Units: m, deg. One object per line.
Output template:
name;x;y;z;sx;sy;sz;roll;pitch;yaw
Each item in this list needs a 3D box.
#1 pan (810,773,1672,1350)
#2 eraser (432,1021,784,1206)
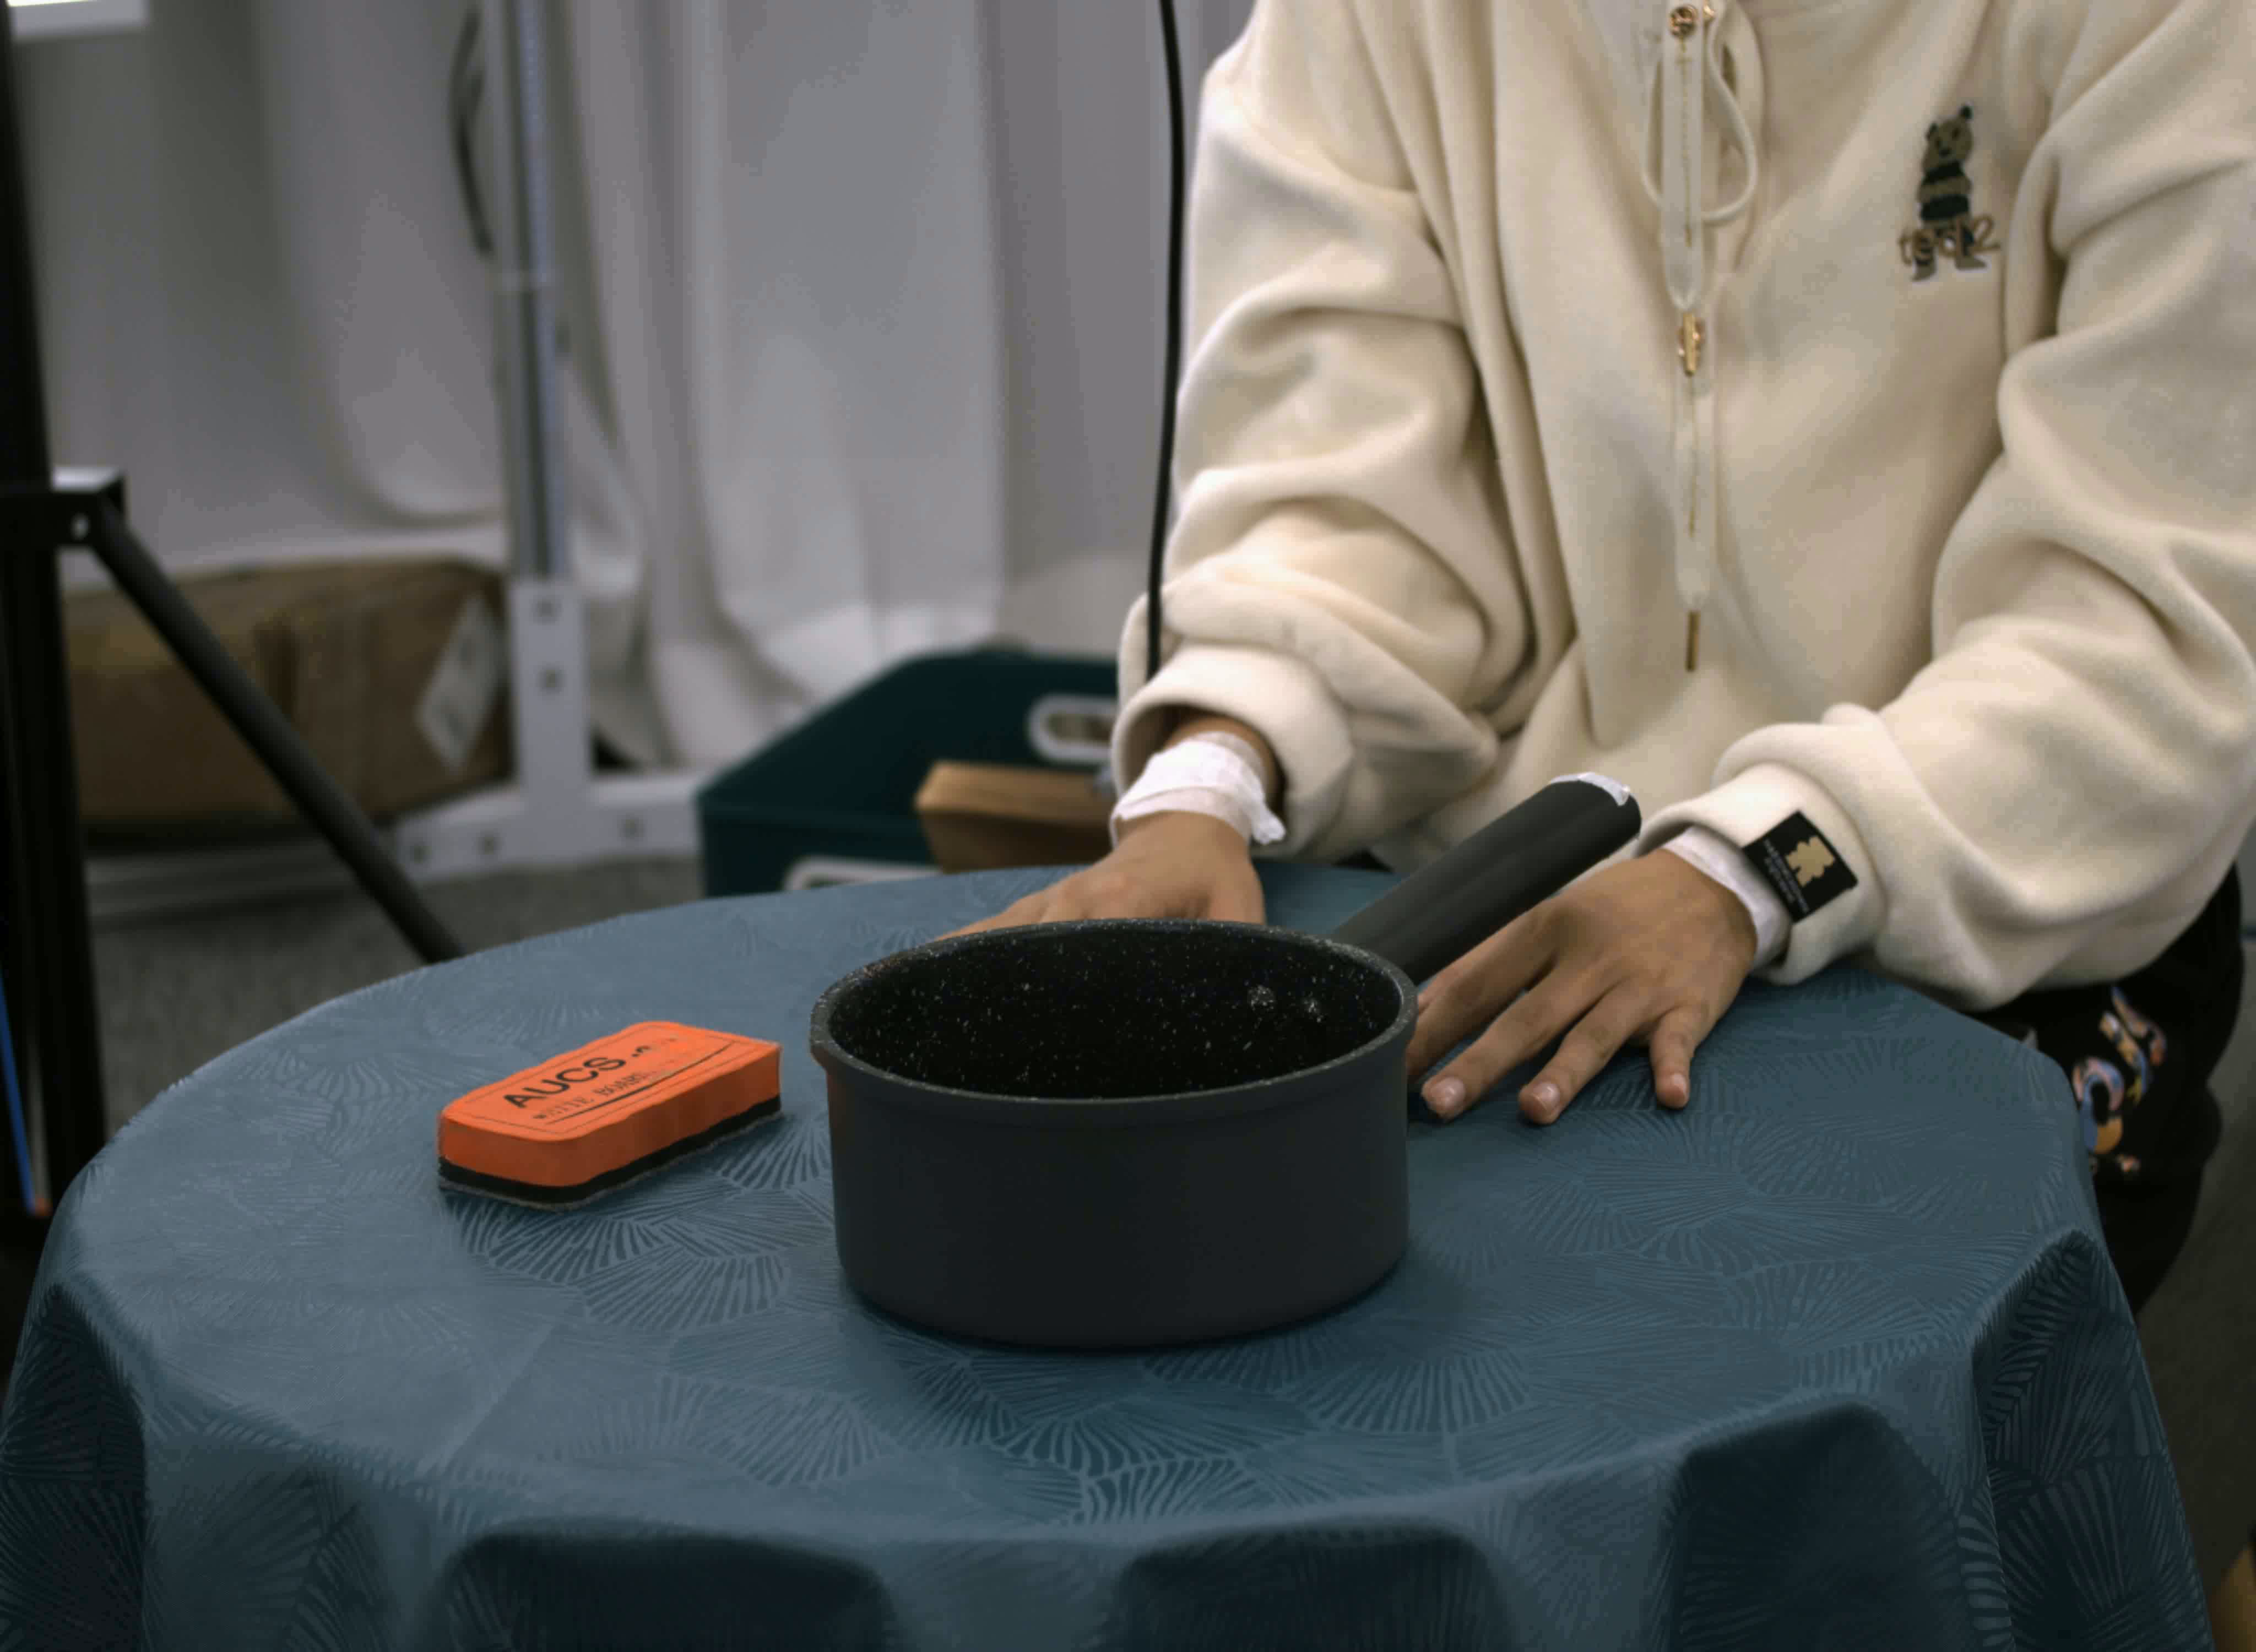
pan;0.050;0.065;1.549;0.176;0.086;0.321;12;23;41
eraser;-0.157;0.087;1.615;0.060;0.023;0.106;9;20;36
